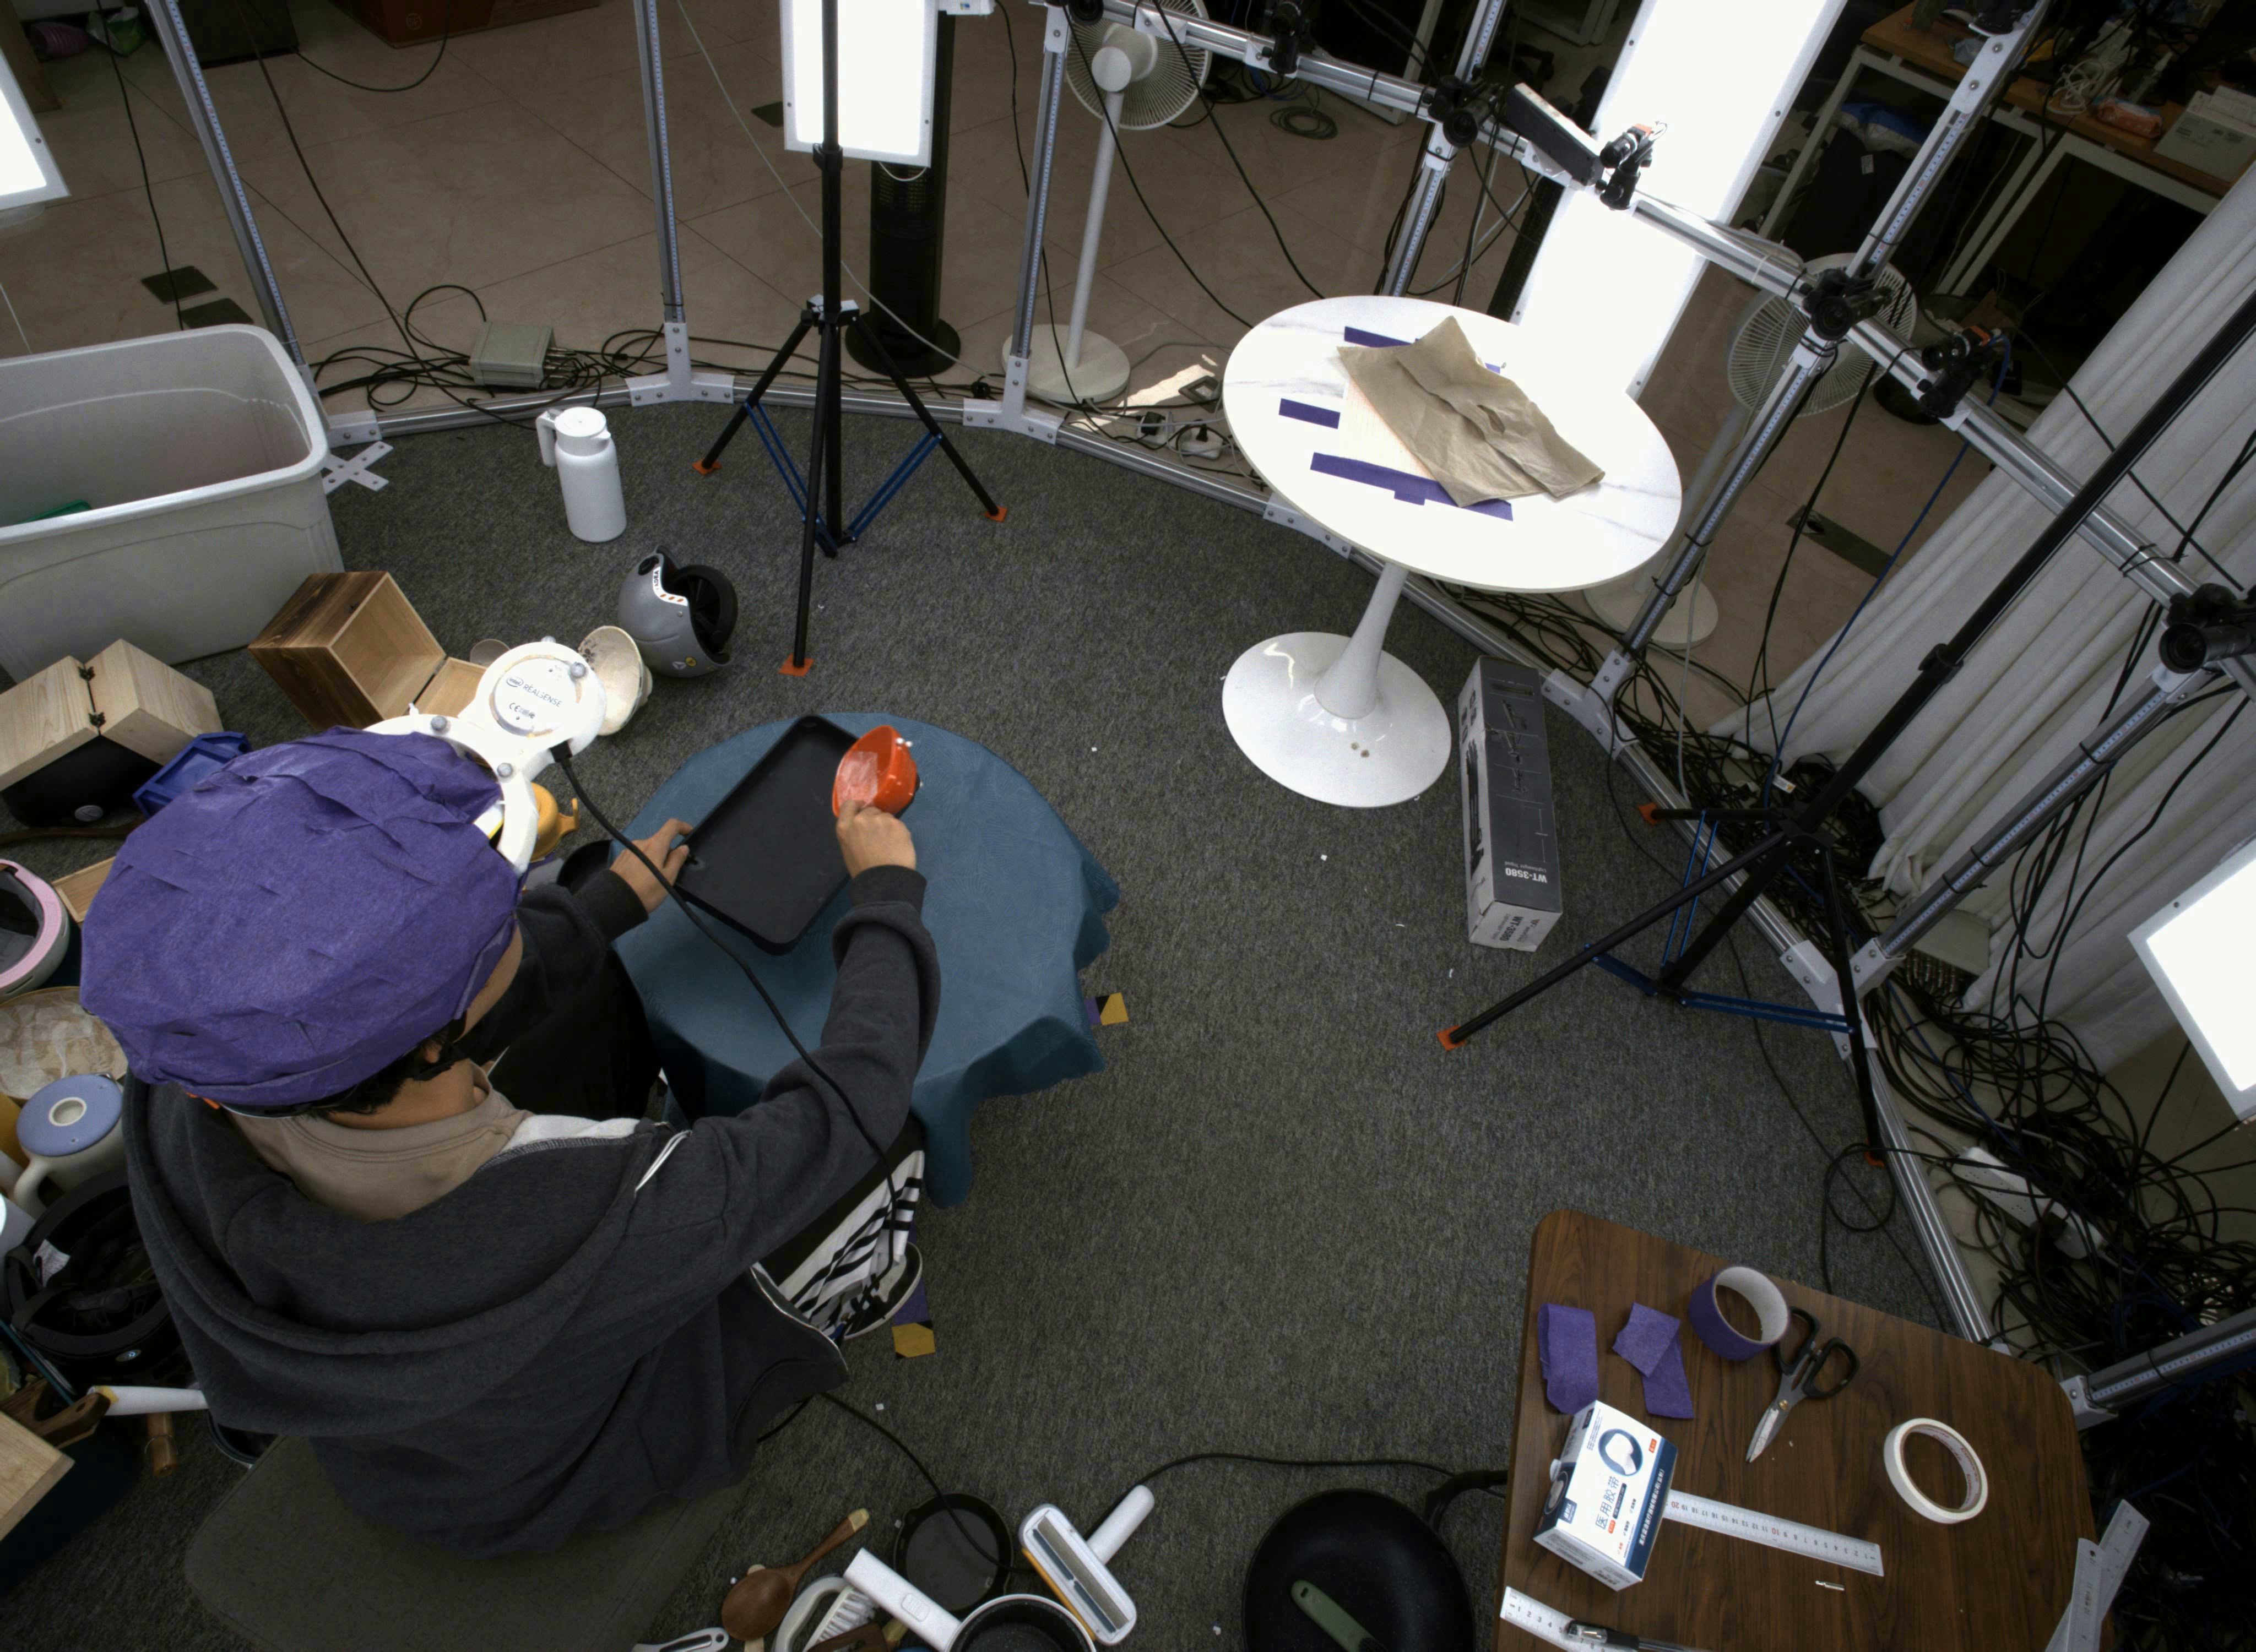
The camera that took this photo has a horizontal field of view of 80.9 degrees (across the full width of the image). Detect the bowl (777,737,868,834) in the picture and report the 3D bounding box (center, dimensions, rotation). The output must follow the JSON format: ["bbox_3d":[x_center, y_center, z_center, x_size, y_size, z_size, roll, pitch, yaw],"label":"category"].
[{"bbox_3d":[-0.332,-0.036,1.439,0.116,0.053,0.117,-20,49,26],"label":"bowl"}]

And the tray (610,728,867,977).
[{"bbox_3d":[-0.467,0.023,1.568,0.183,0.037,0.315,28,50,0],"label":"tray"}]
